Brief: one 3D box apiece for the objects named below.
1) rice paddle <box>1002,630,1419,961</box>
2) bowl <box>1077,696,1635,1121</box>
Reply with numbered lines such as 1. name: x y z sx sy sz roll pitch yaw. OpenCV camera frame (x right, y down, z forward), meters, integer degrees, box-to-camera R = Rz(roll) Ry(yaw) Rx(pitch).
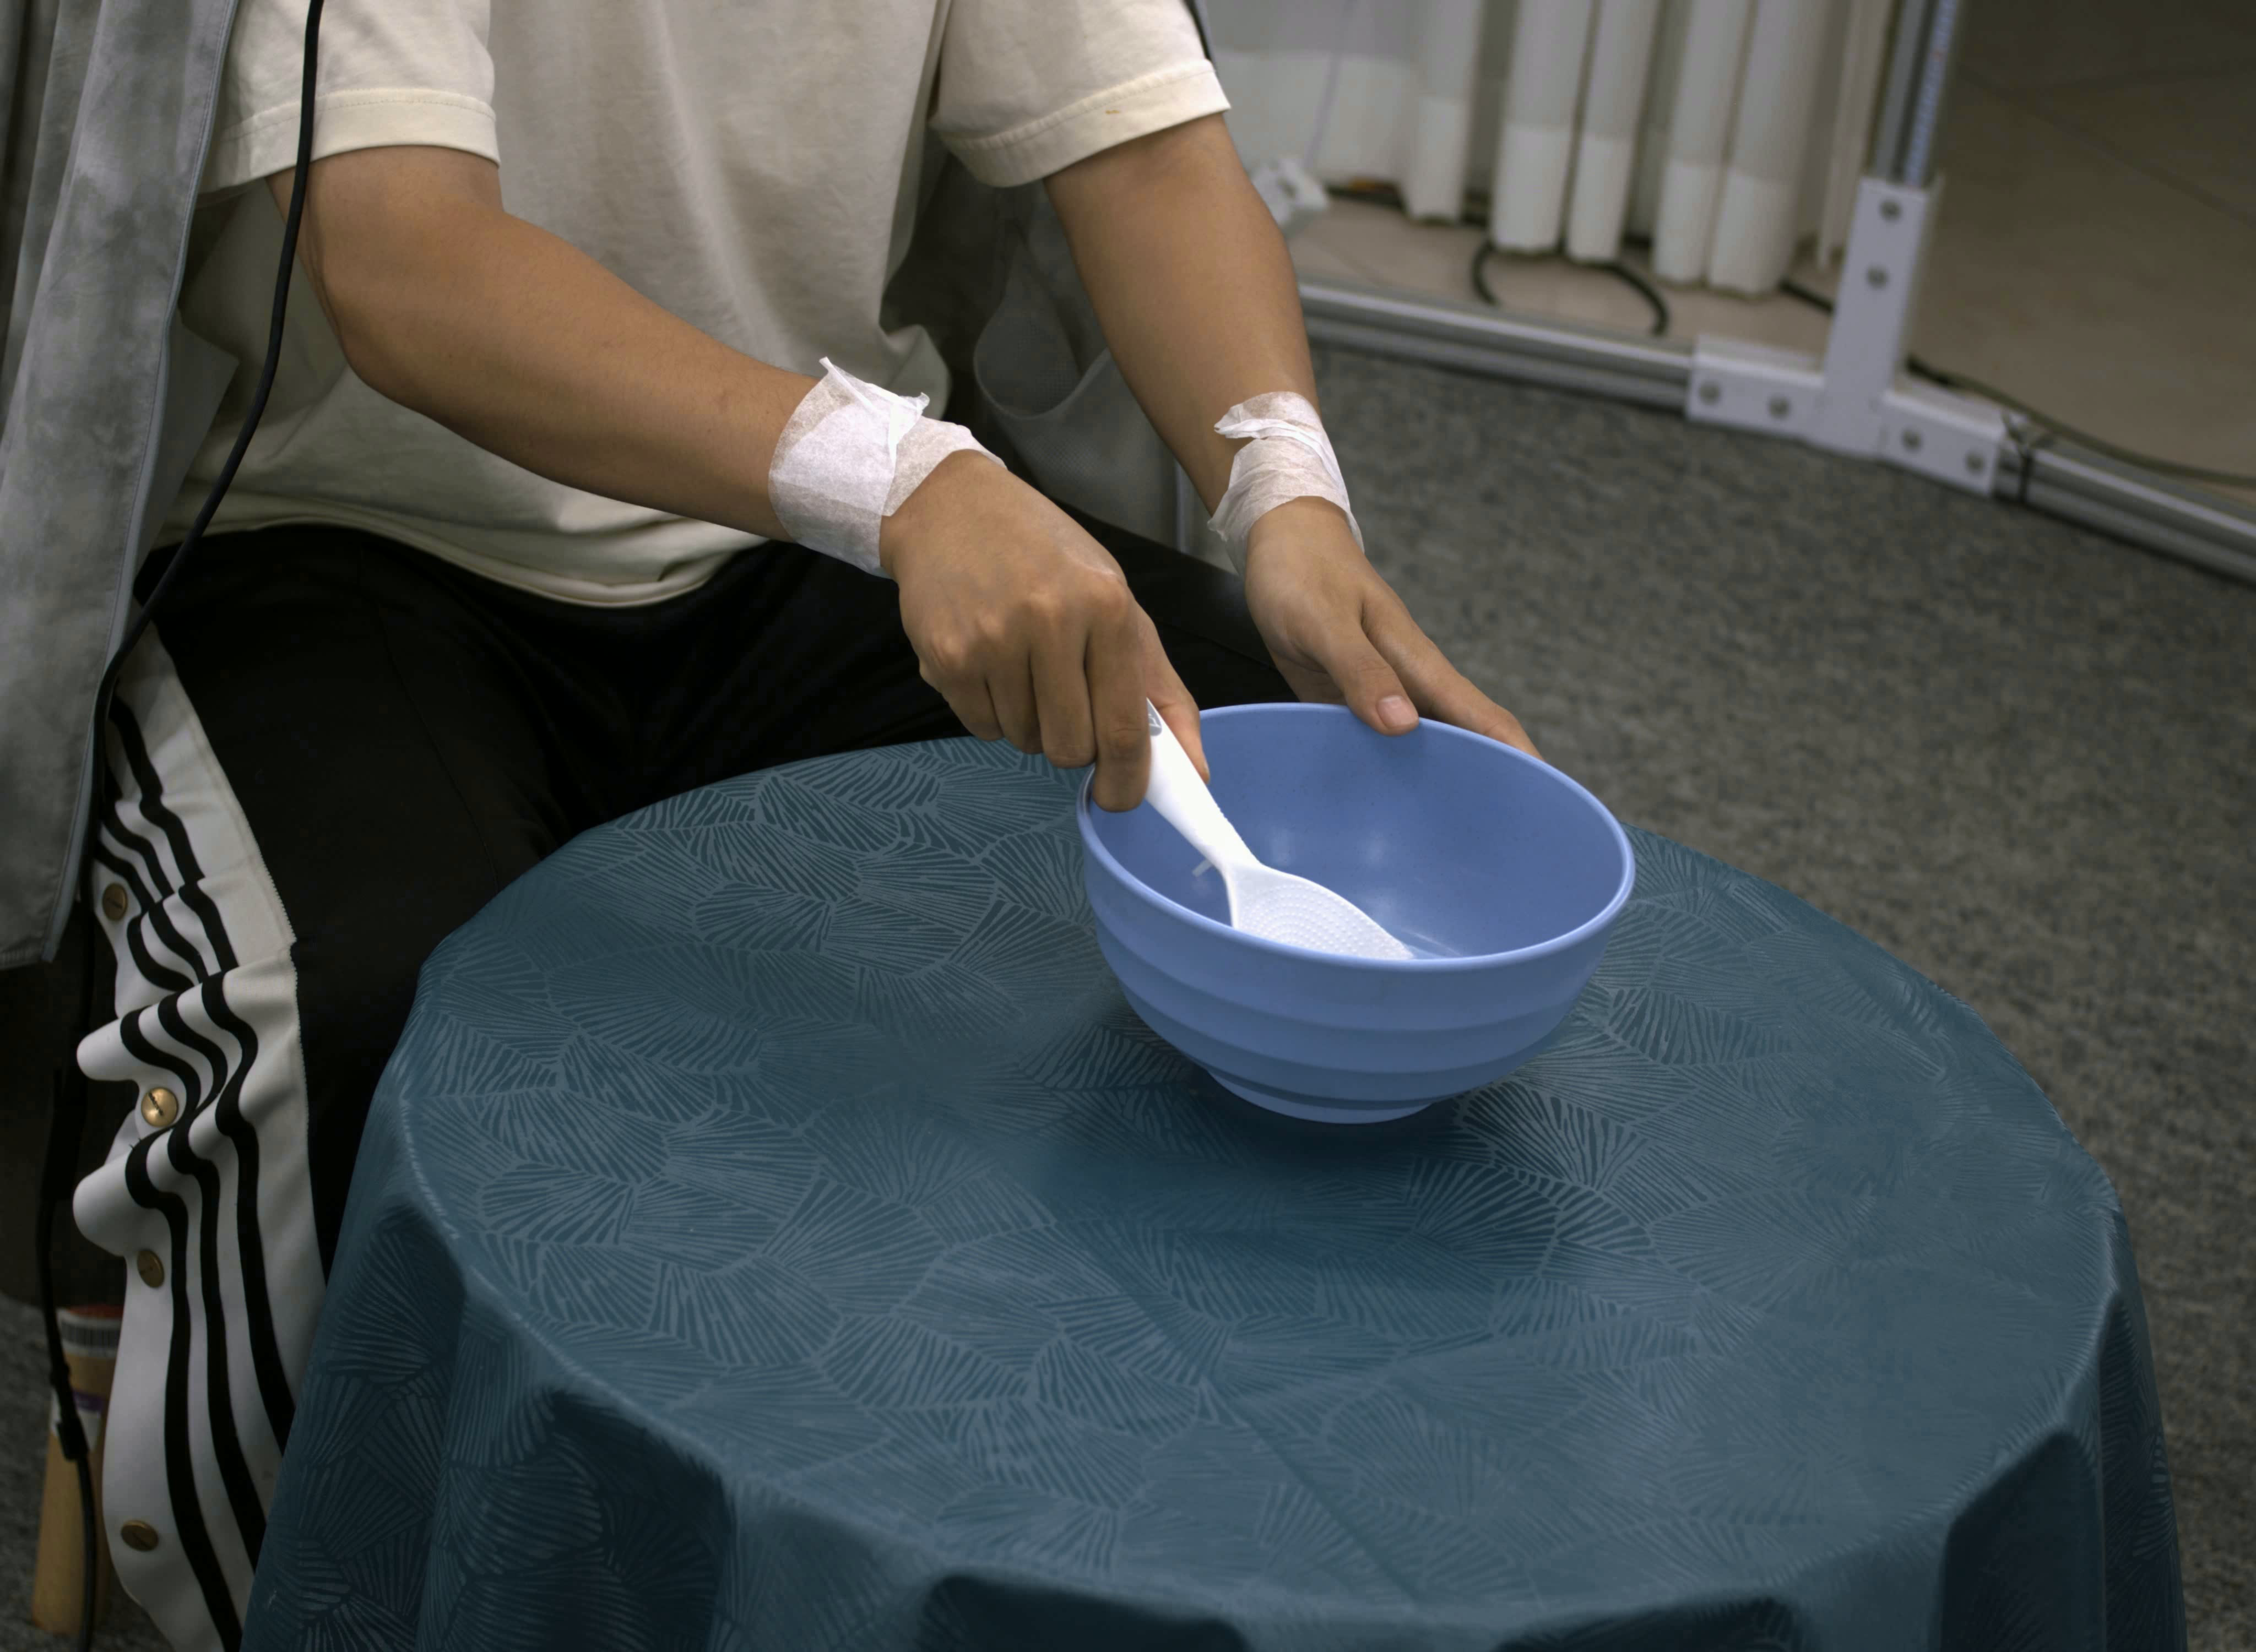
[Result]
1. rice paddle: 0.039 0.013 1.864 0.205 0.029 0.069 45 39 1
2. bowl: 0.075 0.040 1.878 0.196 0.095 0.198 5 29 -3
